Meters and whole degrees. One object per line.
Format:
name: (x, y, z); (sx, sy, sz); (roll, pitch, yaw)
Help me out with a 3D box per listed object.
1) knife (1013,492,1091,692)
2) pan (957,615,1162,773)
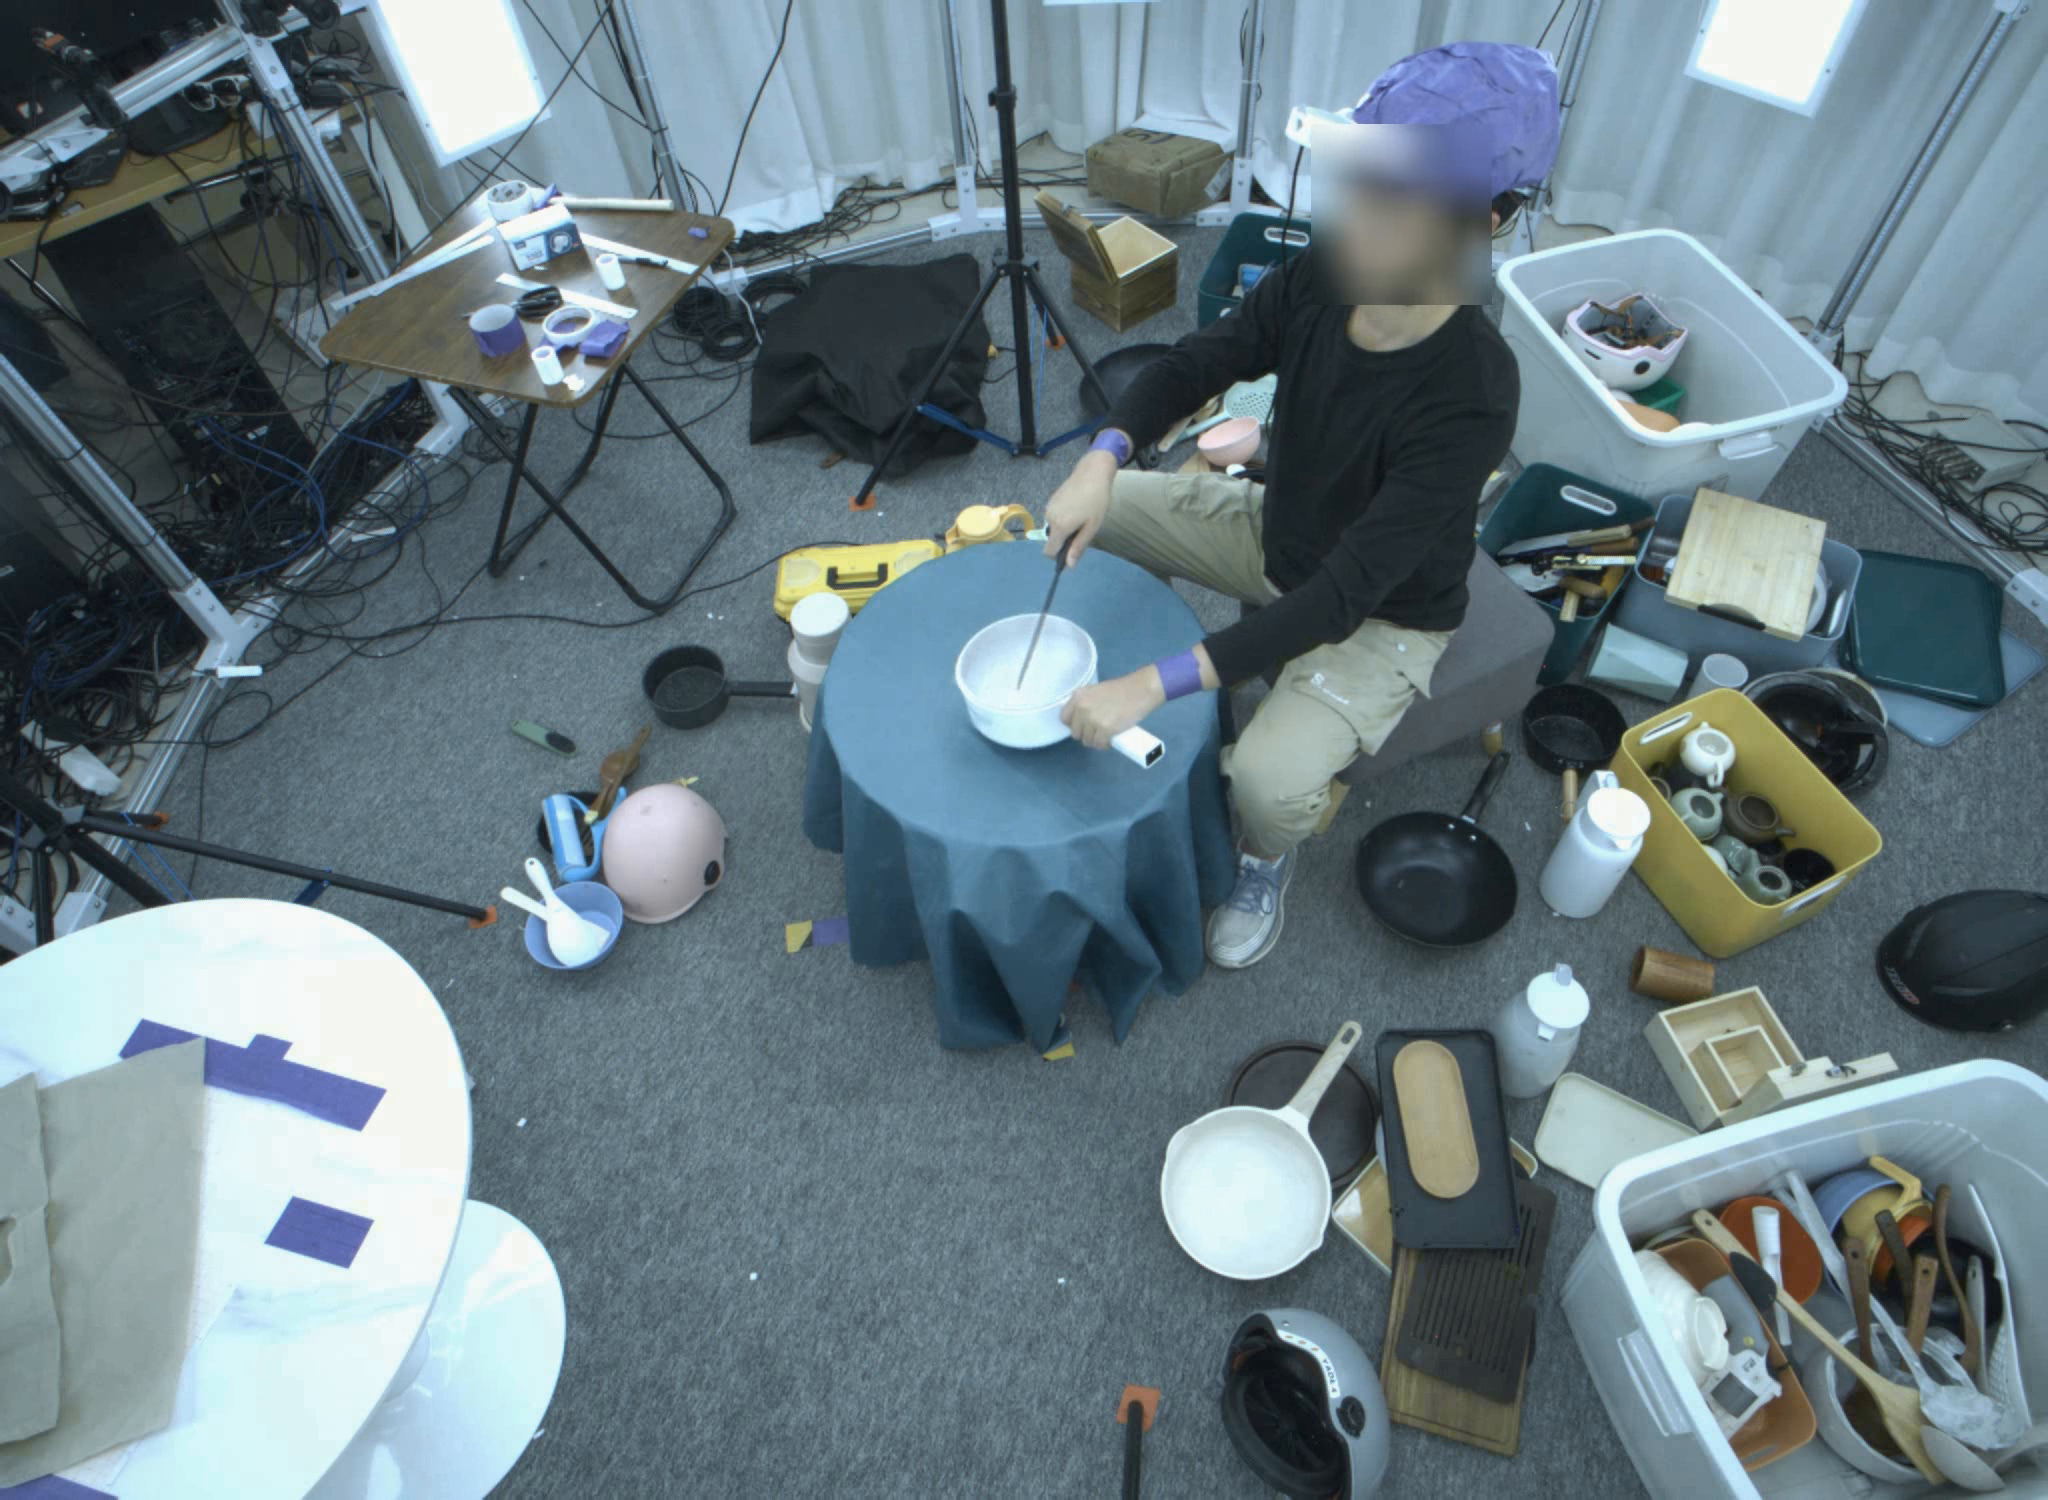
knife: (0.036, -0.225, 1.723); (0.021, 0.081, 0.302); (19, 85, 4)
pan: (0.059, -0.055, 1.740); (0.203, 0.103, 0.347); (-37, 55, -22)
